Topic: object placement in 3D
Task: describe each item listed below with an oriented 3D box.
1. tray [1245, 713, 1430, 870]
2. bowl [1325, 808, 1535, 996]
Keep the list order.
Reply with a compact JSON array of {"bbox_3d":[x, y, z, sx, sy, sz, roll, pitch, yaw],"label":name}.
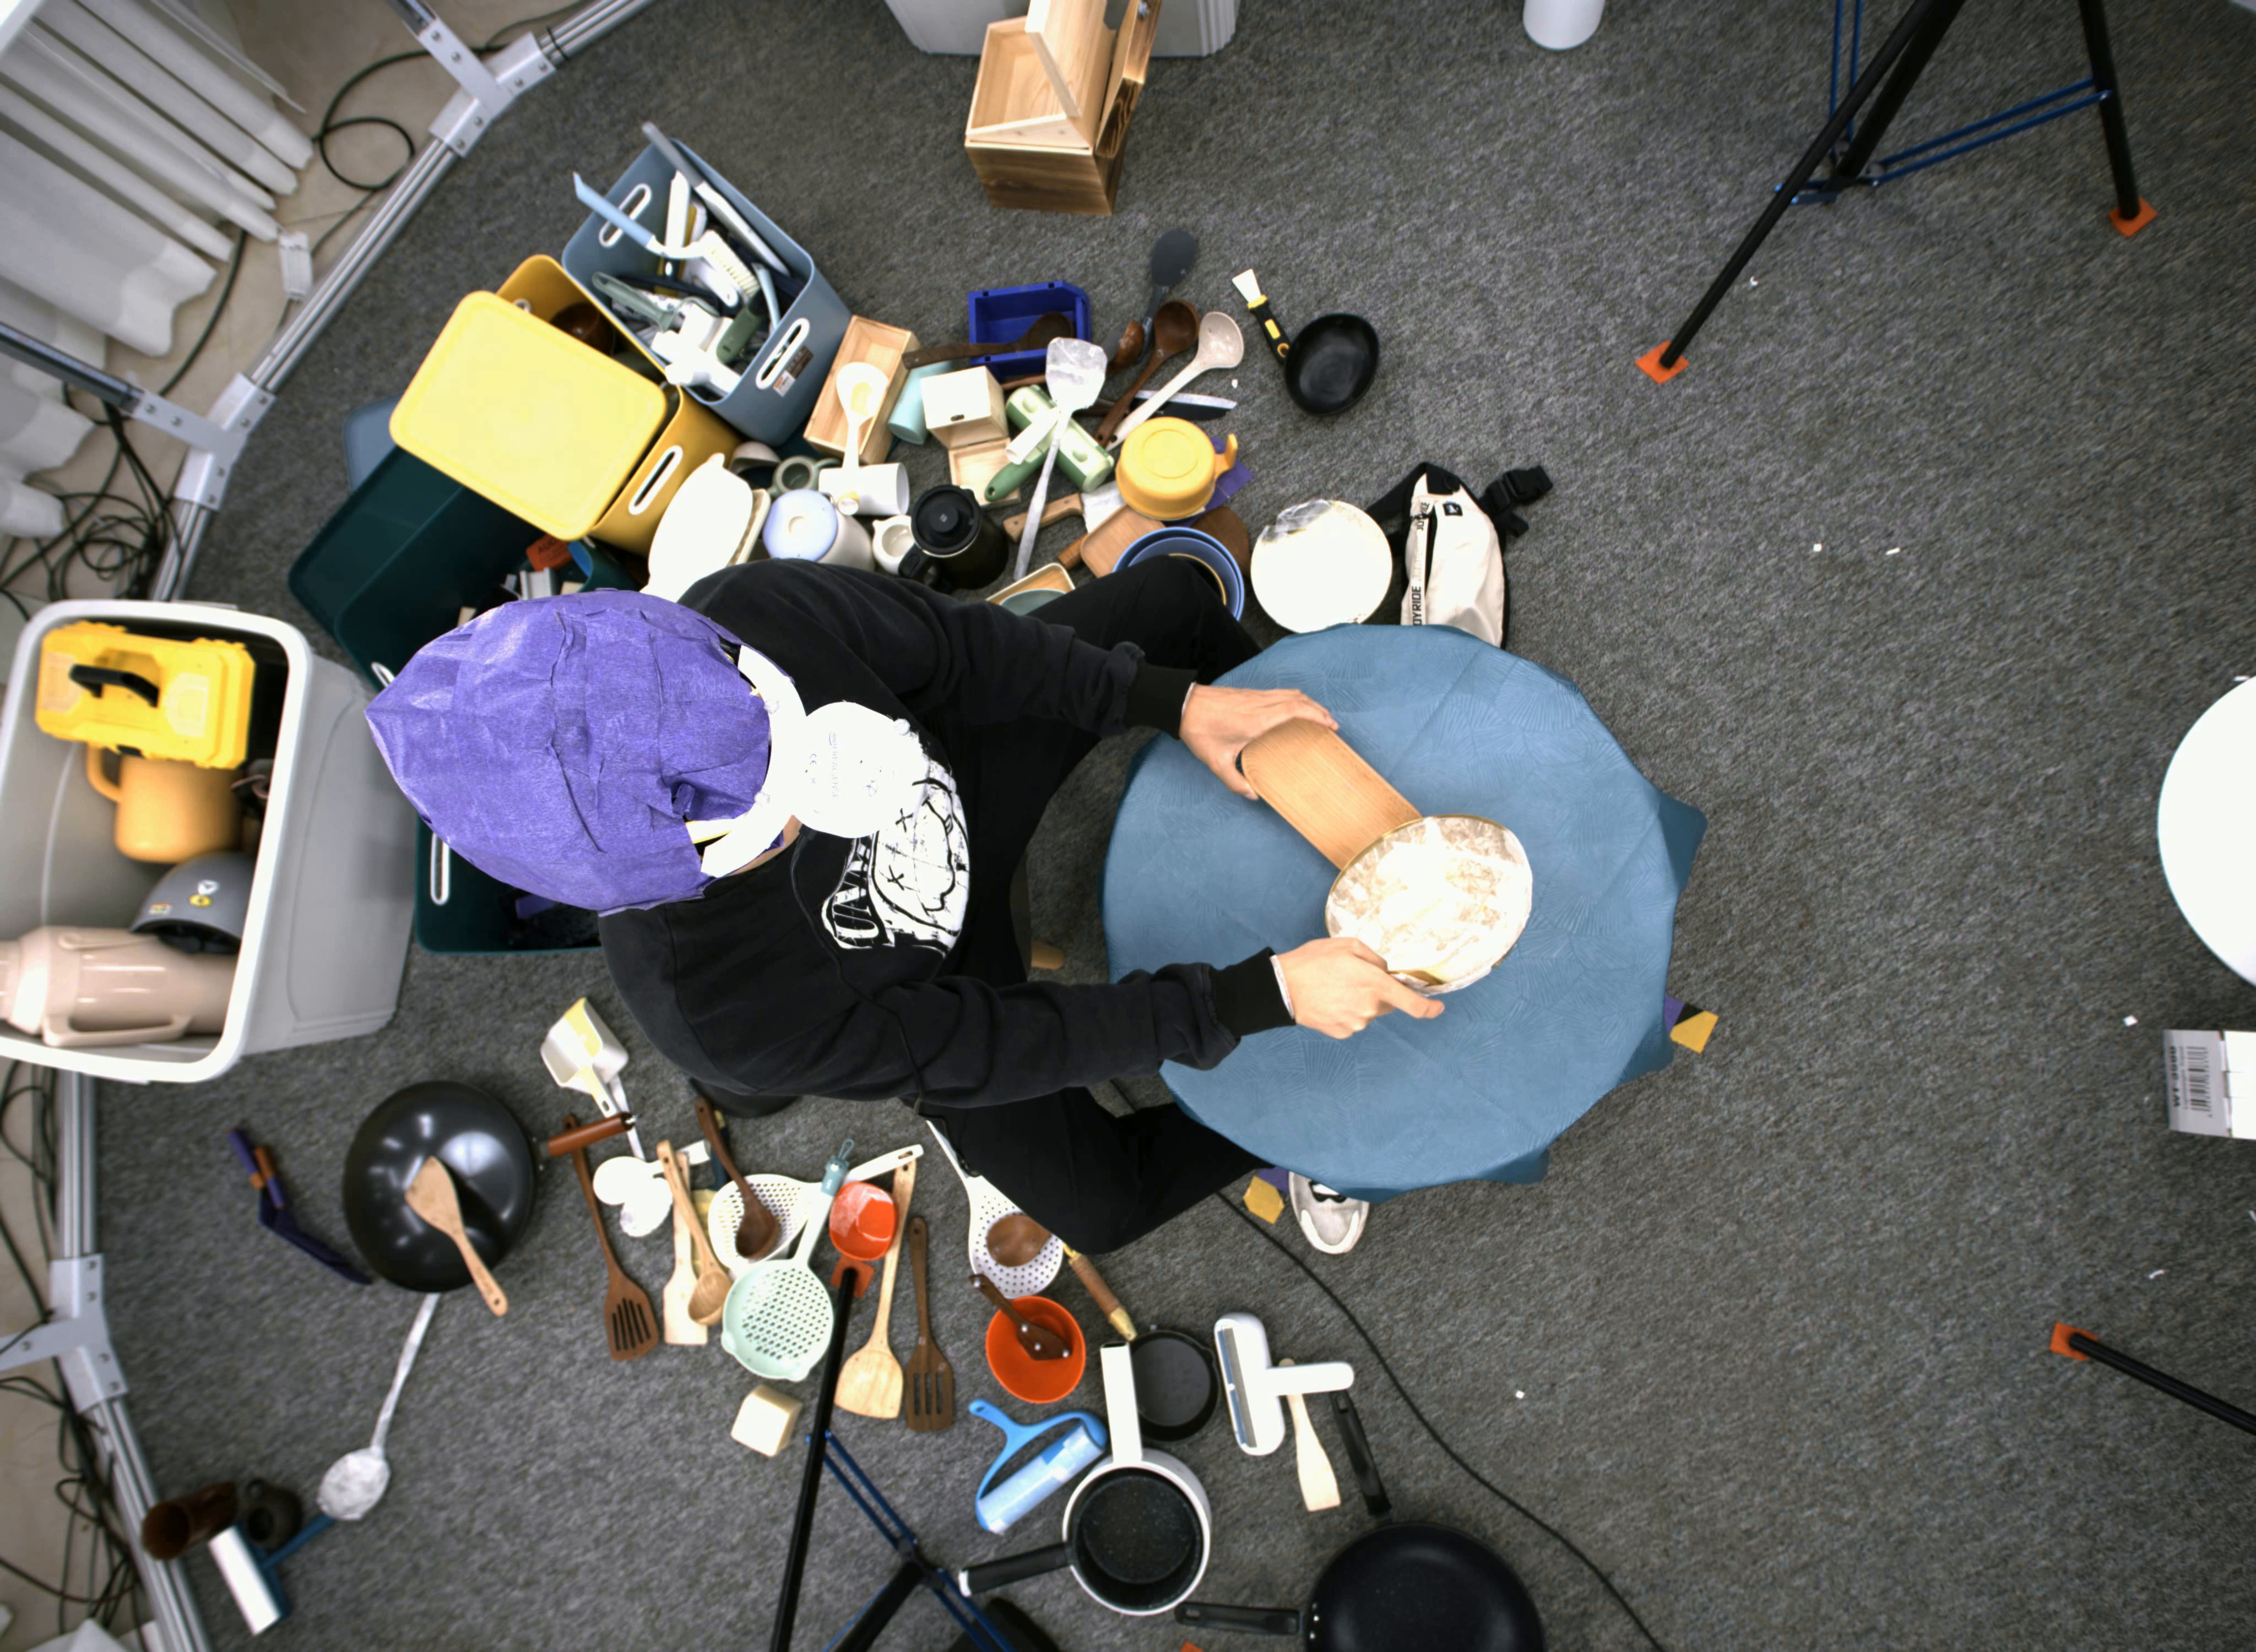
[{"bbox_3d":[0.222,-0.025,1.448,0.231,0.020,0.102,41,99,-4],"label":"tray"},{"bbox_3d":[0.301,0.088,1.336,0.217,0.209,0.096,-24,126,18],"label":"bowl"}]
